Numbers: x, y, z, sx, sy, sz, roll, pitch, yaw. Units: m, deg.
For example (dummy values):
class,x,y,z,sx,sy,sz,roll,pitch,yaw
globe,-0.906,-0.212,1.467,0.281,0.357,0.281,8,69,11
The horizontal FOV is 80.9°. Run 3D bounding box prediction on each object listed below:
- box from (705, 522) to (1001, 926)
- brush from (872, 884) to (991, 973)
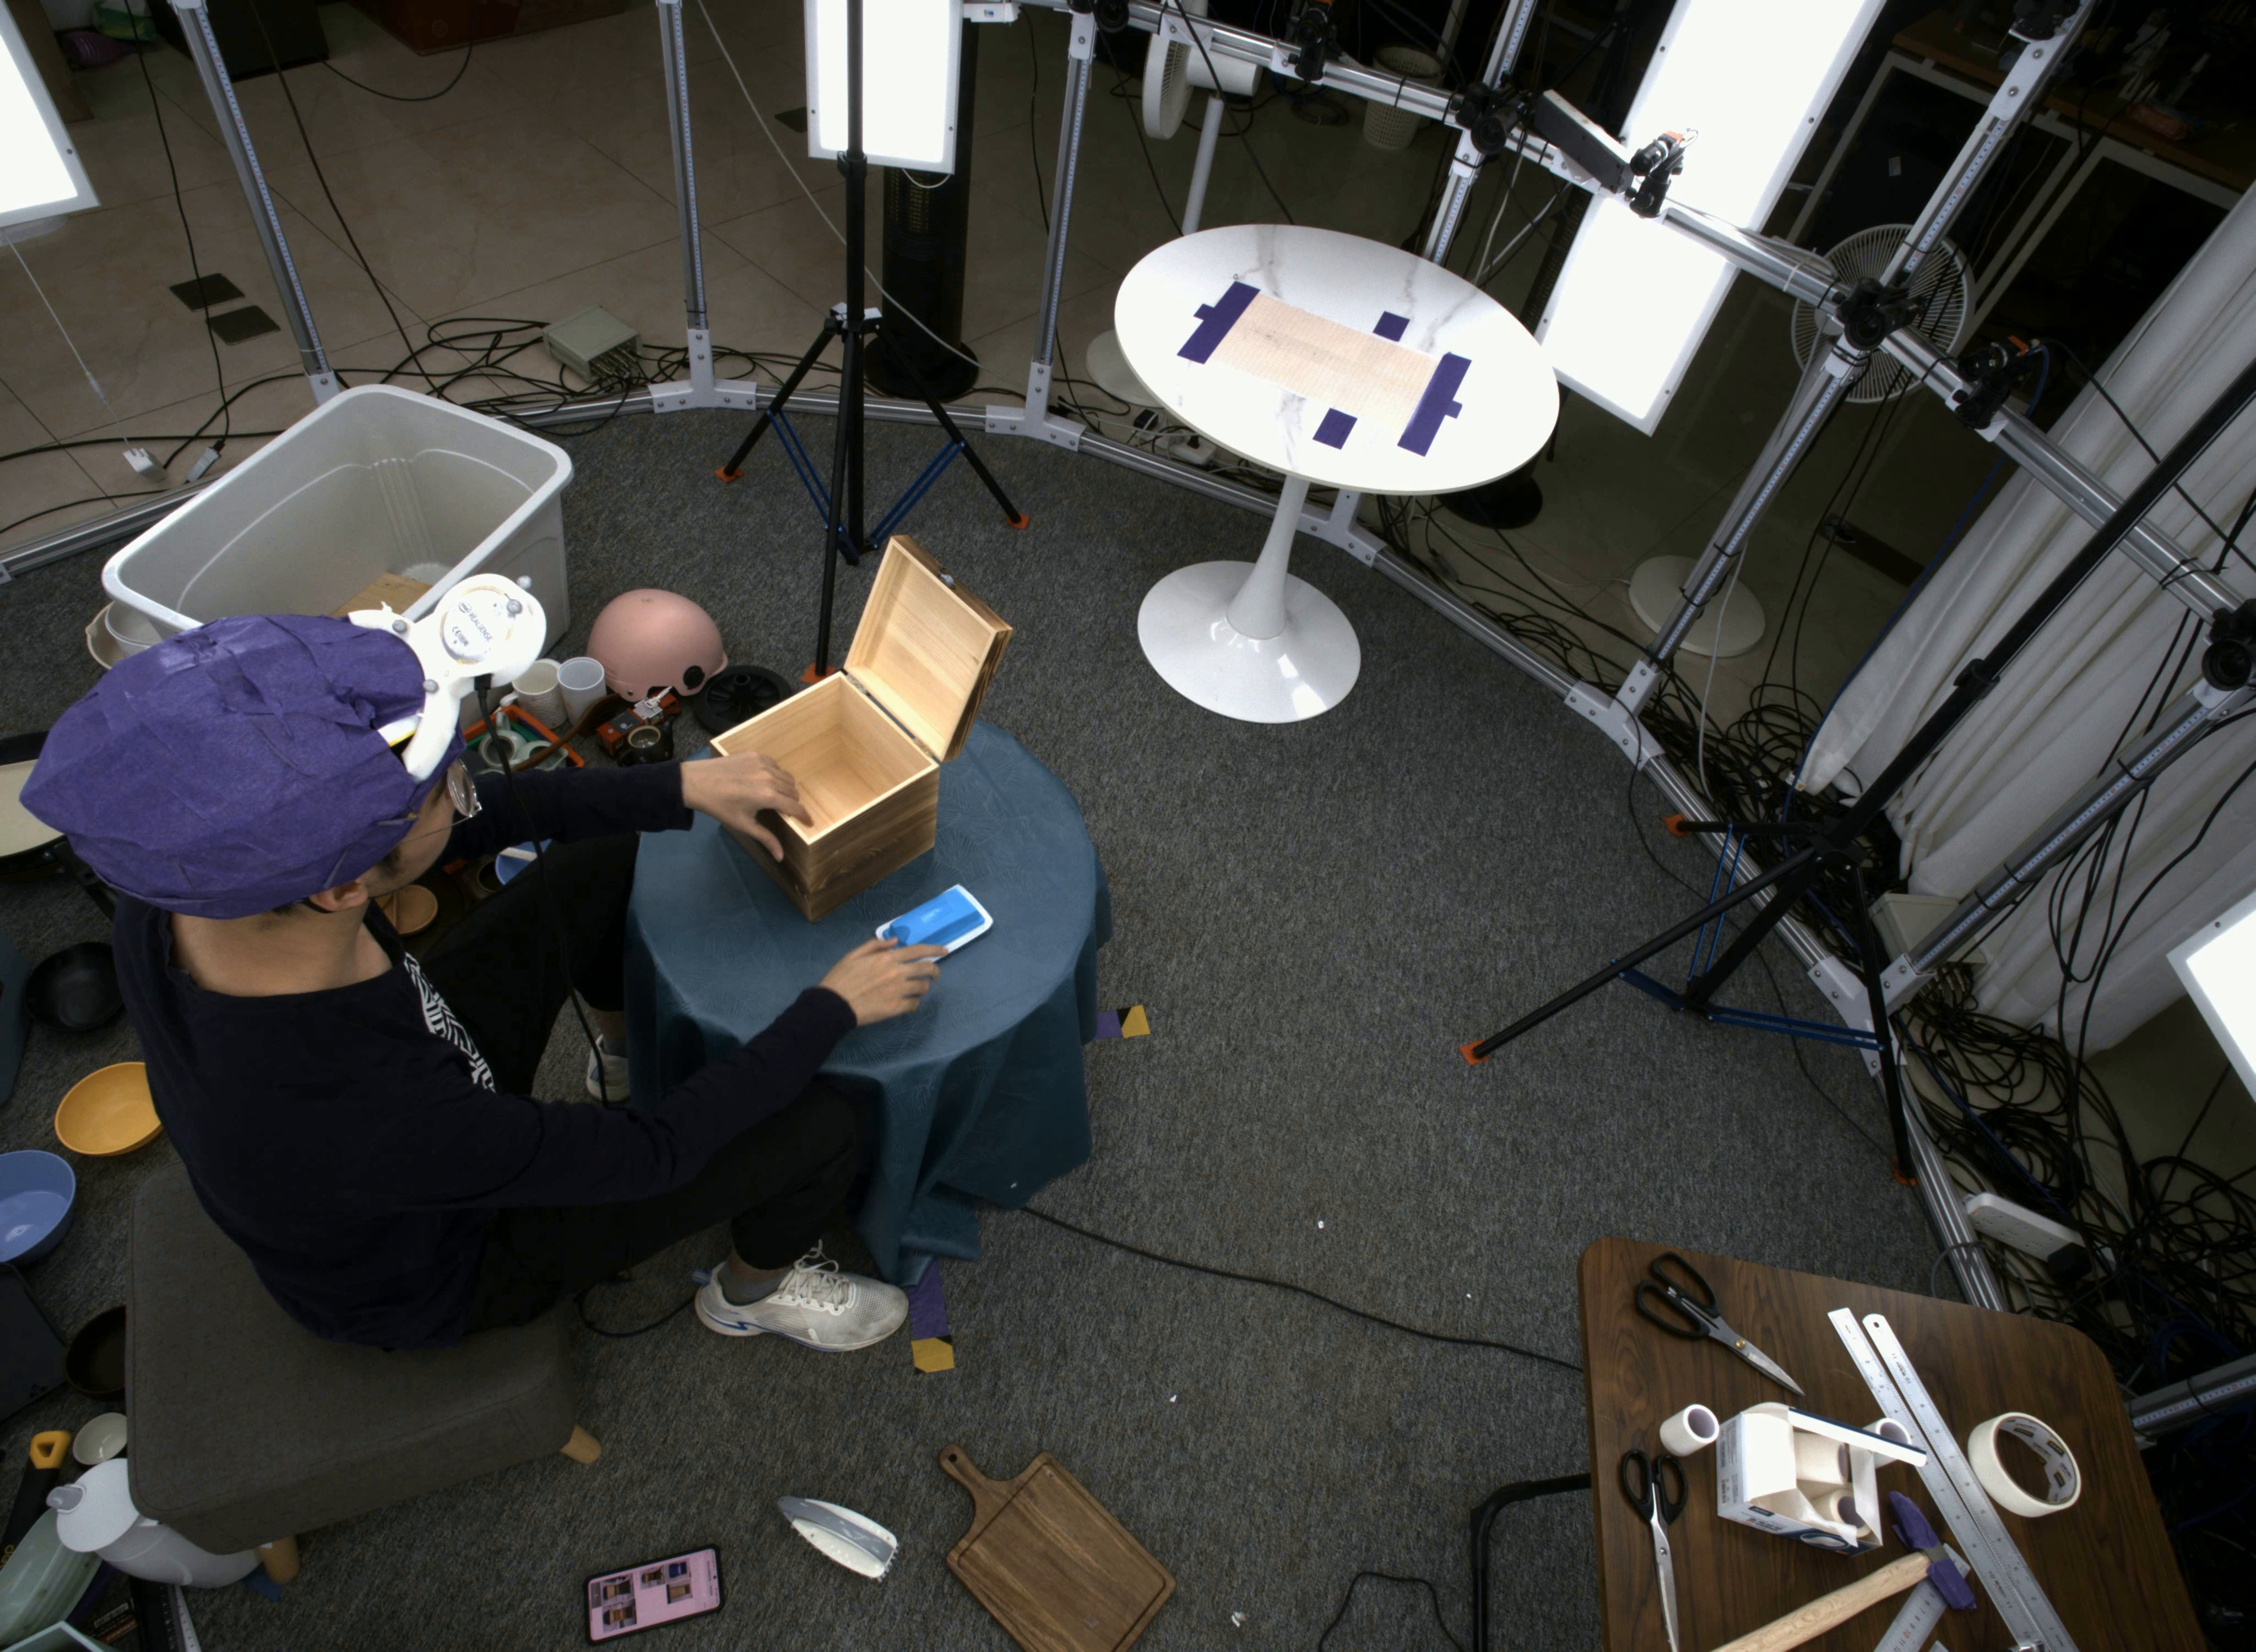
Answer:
class,x,y,z,sx,sy,sz,roll,pitch,yaw
box,-0.339,-0.127,1.607,0.204,0.384,0.323,40,56,20
brush,-0.247,0.120,1.641,0.144,0.057,0.081,-27,60,-31
